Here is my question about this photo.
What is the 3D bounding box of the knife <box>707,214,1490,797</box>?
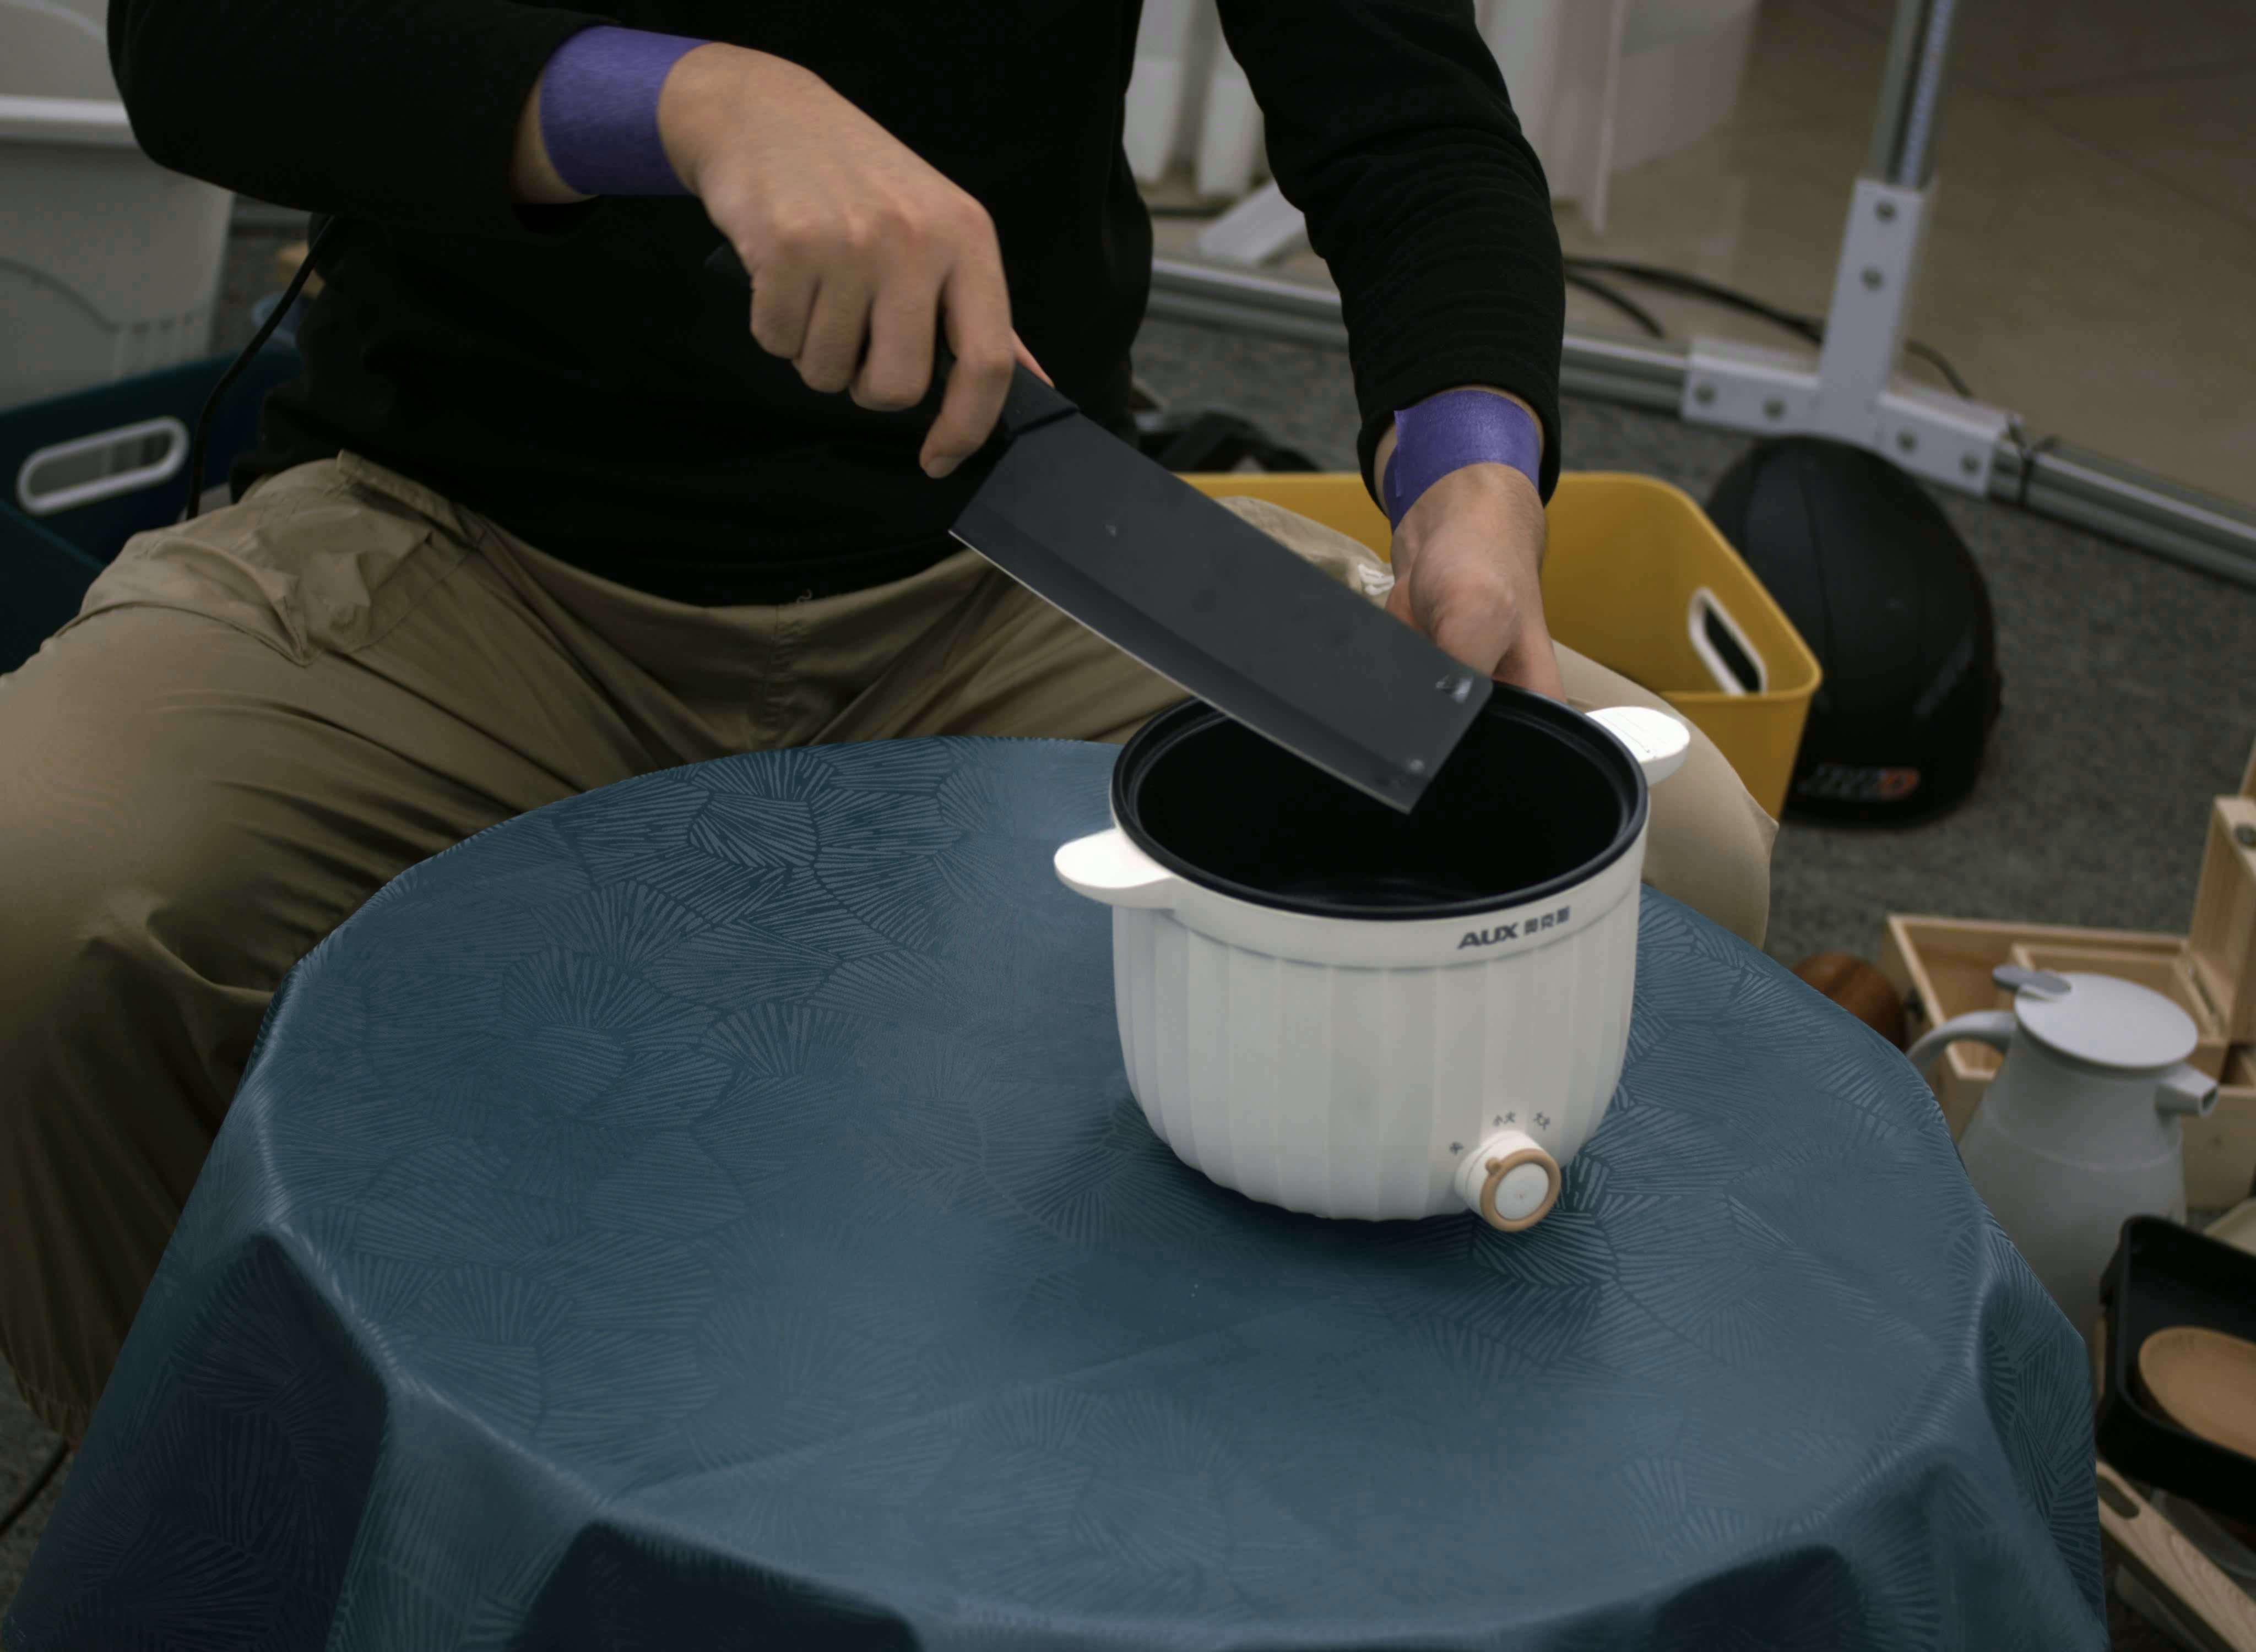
[{"bbox_3d":[-0.016,-0.112,1.787,0.303,0.021,0.081,37,65,9],"label":"knife"}]

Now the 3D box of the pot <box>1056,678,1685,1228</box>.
[{"bbox_3d":[0.088,0.046,1.813,0.239,0.142,0.192,-14,27,-24],"label":"pot"}]
